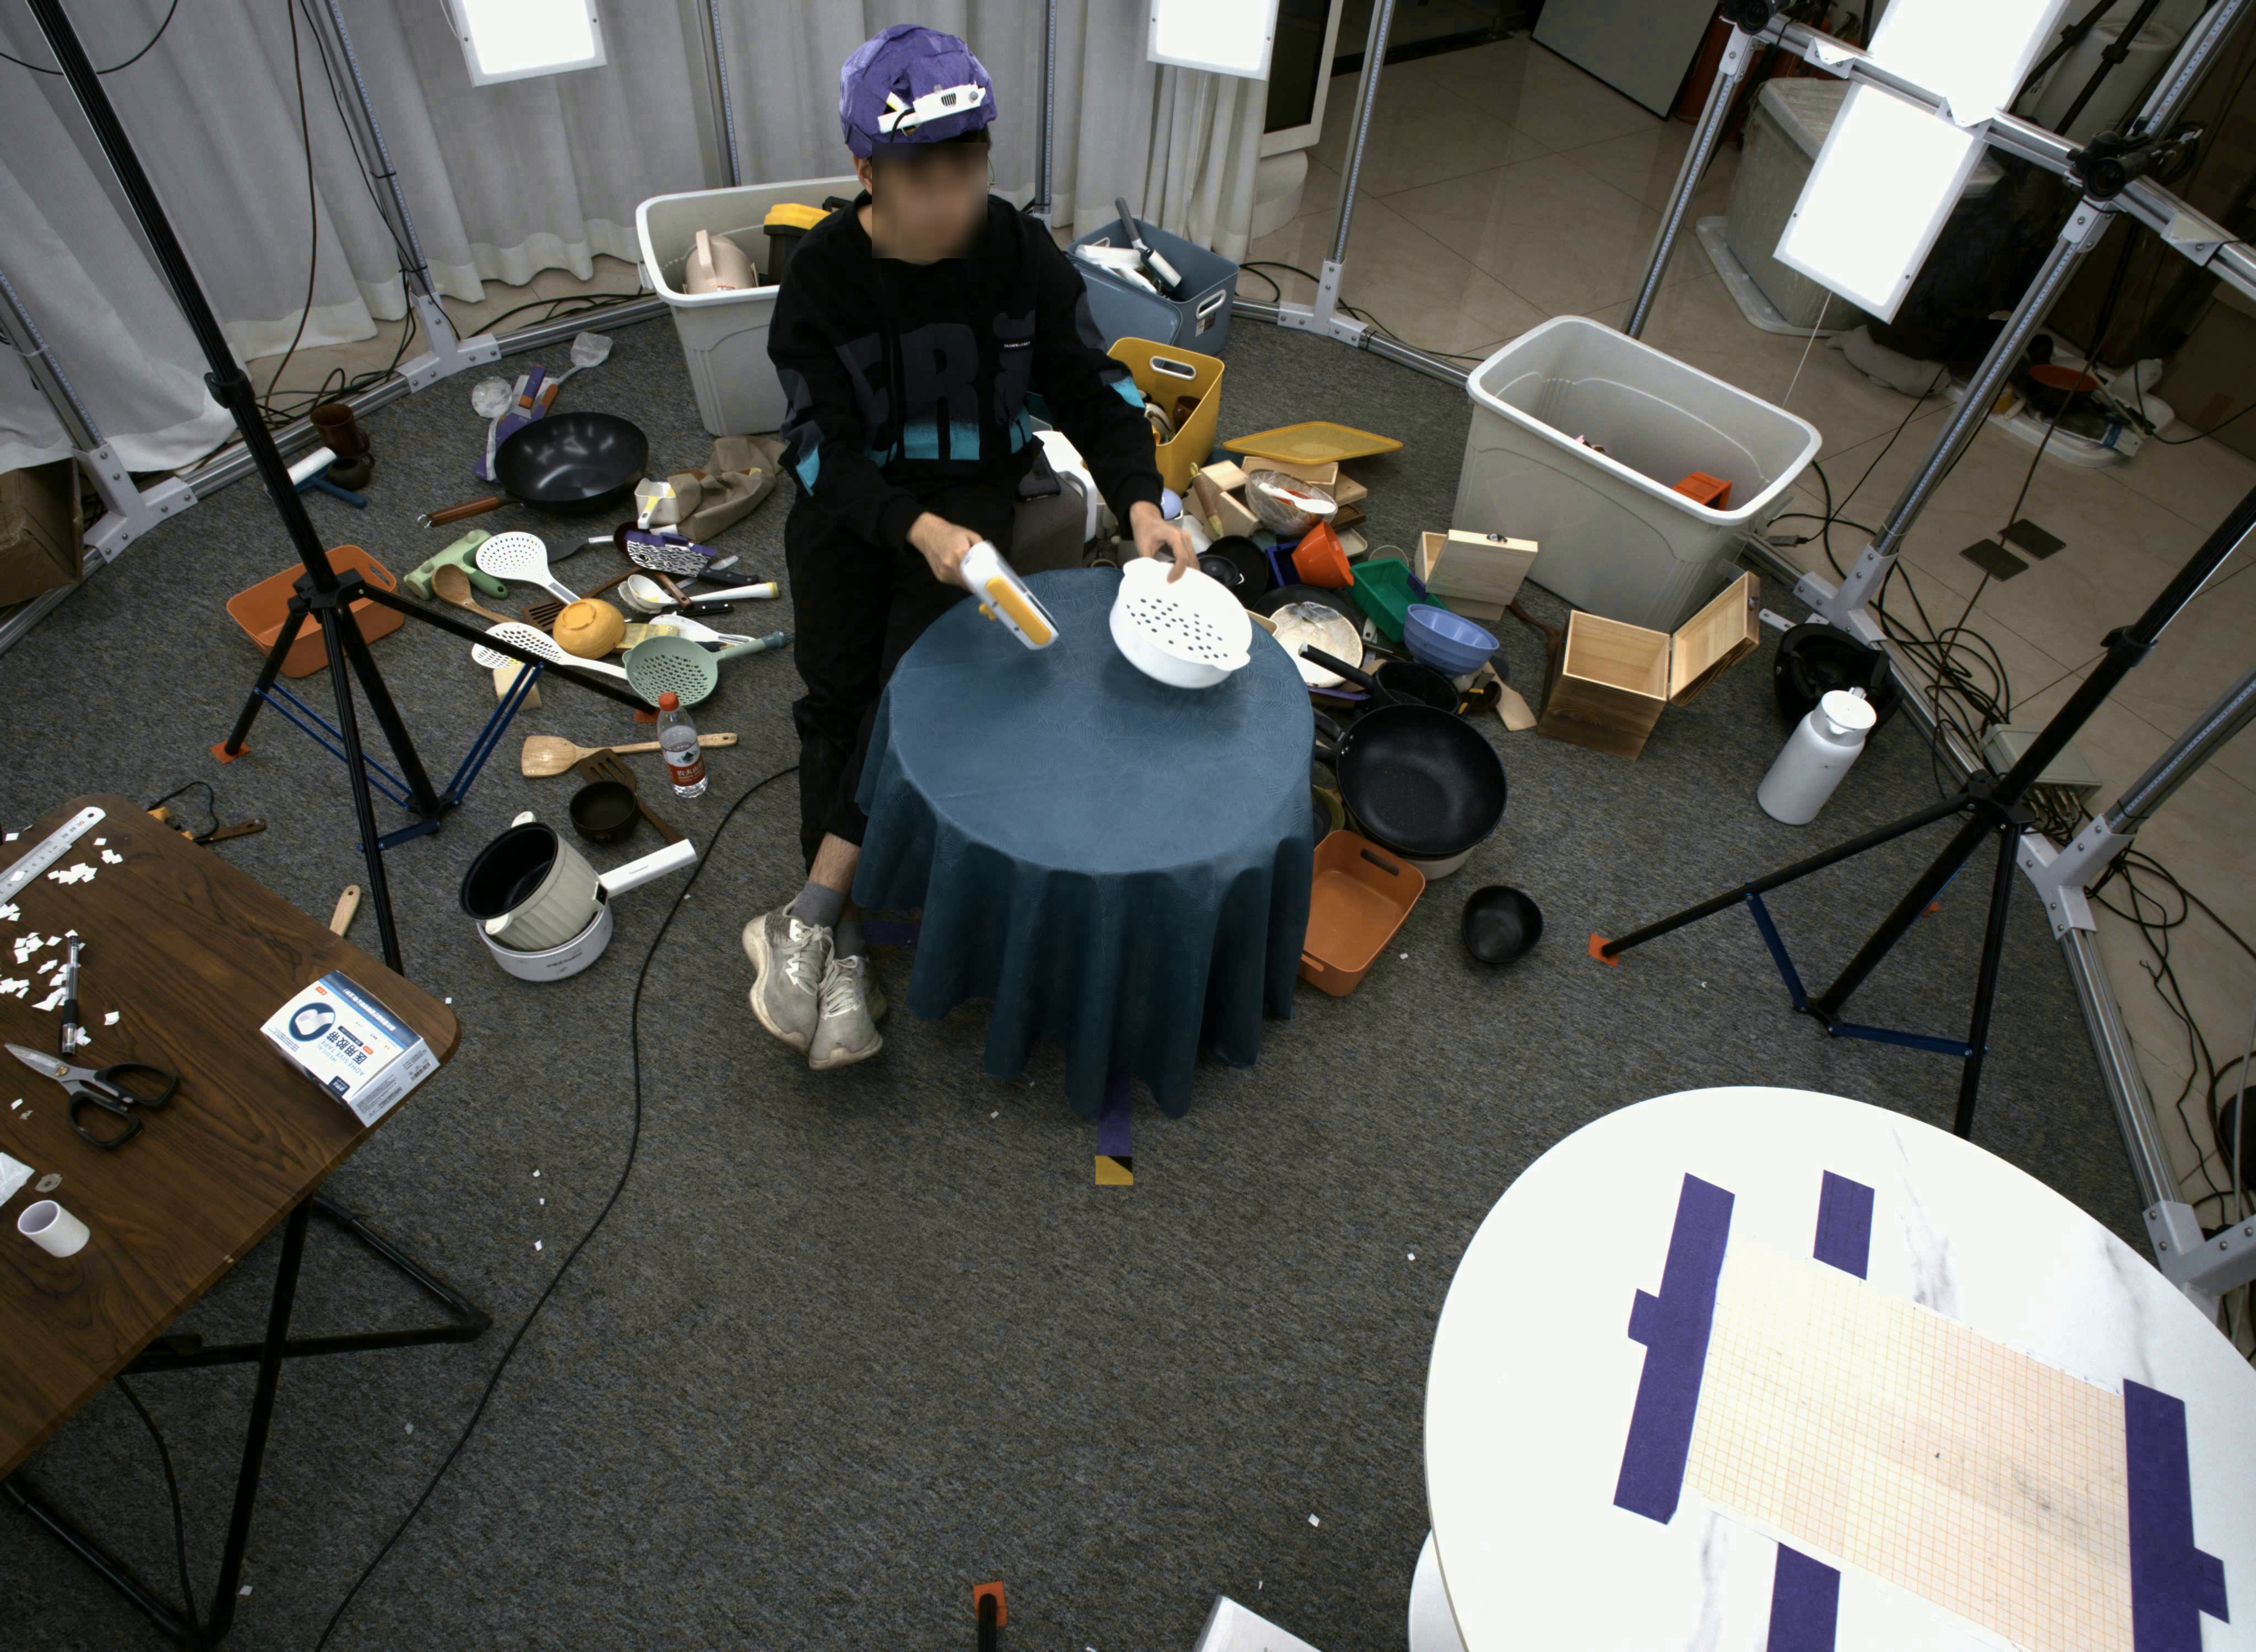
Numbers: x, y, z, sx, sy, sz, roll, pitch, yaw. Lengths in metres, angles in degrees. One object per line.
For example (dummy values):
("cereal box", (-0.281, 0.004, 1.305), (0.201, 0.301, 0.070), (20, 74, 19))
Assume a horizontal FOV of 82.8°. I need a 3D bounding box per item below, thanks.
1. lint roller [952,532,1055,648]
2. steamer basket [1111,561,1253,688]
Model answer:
("lint roller", (-0.192, -0.352, 1.816), (0.074, 0.189, 0.197), (-40, 44, 6))
("steamer basket", (0.074, -0.281, 1.823), (0.203, 0.068, 0.234), (-24, 61, -40))
